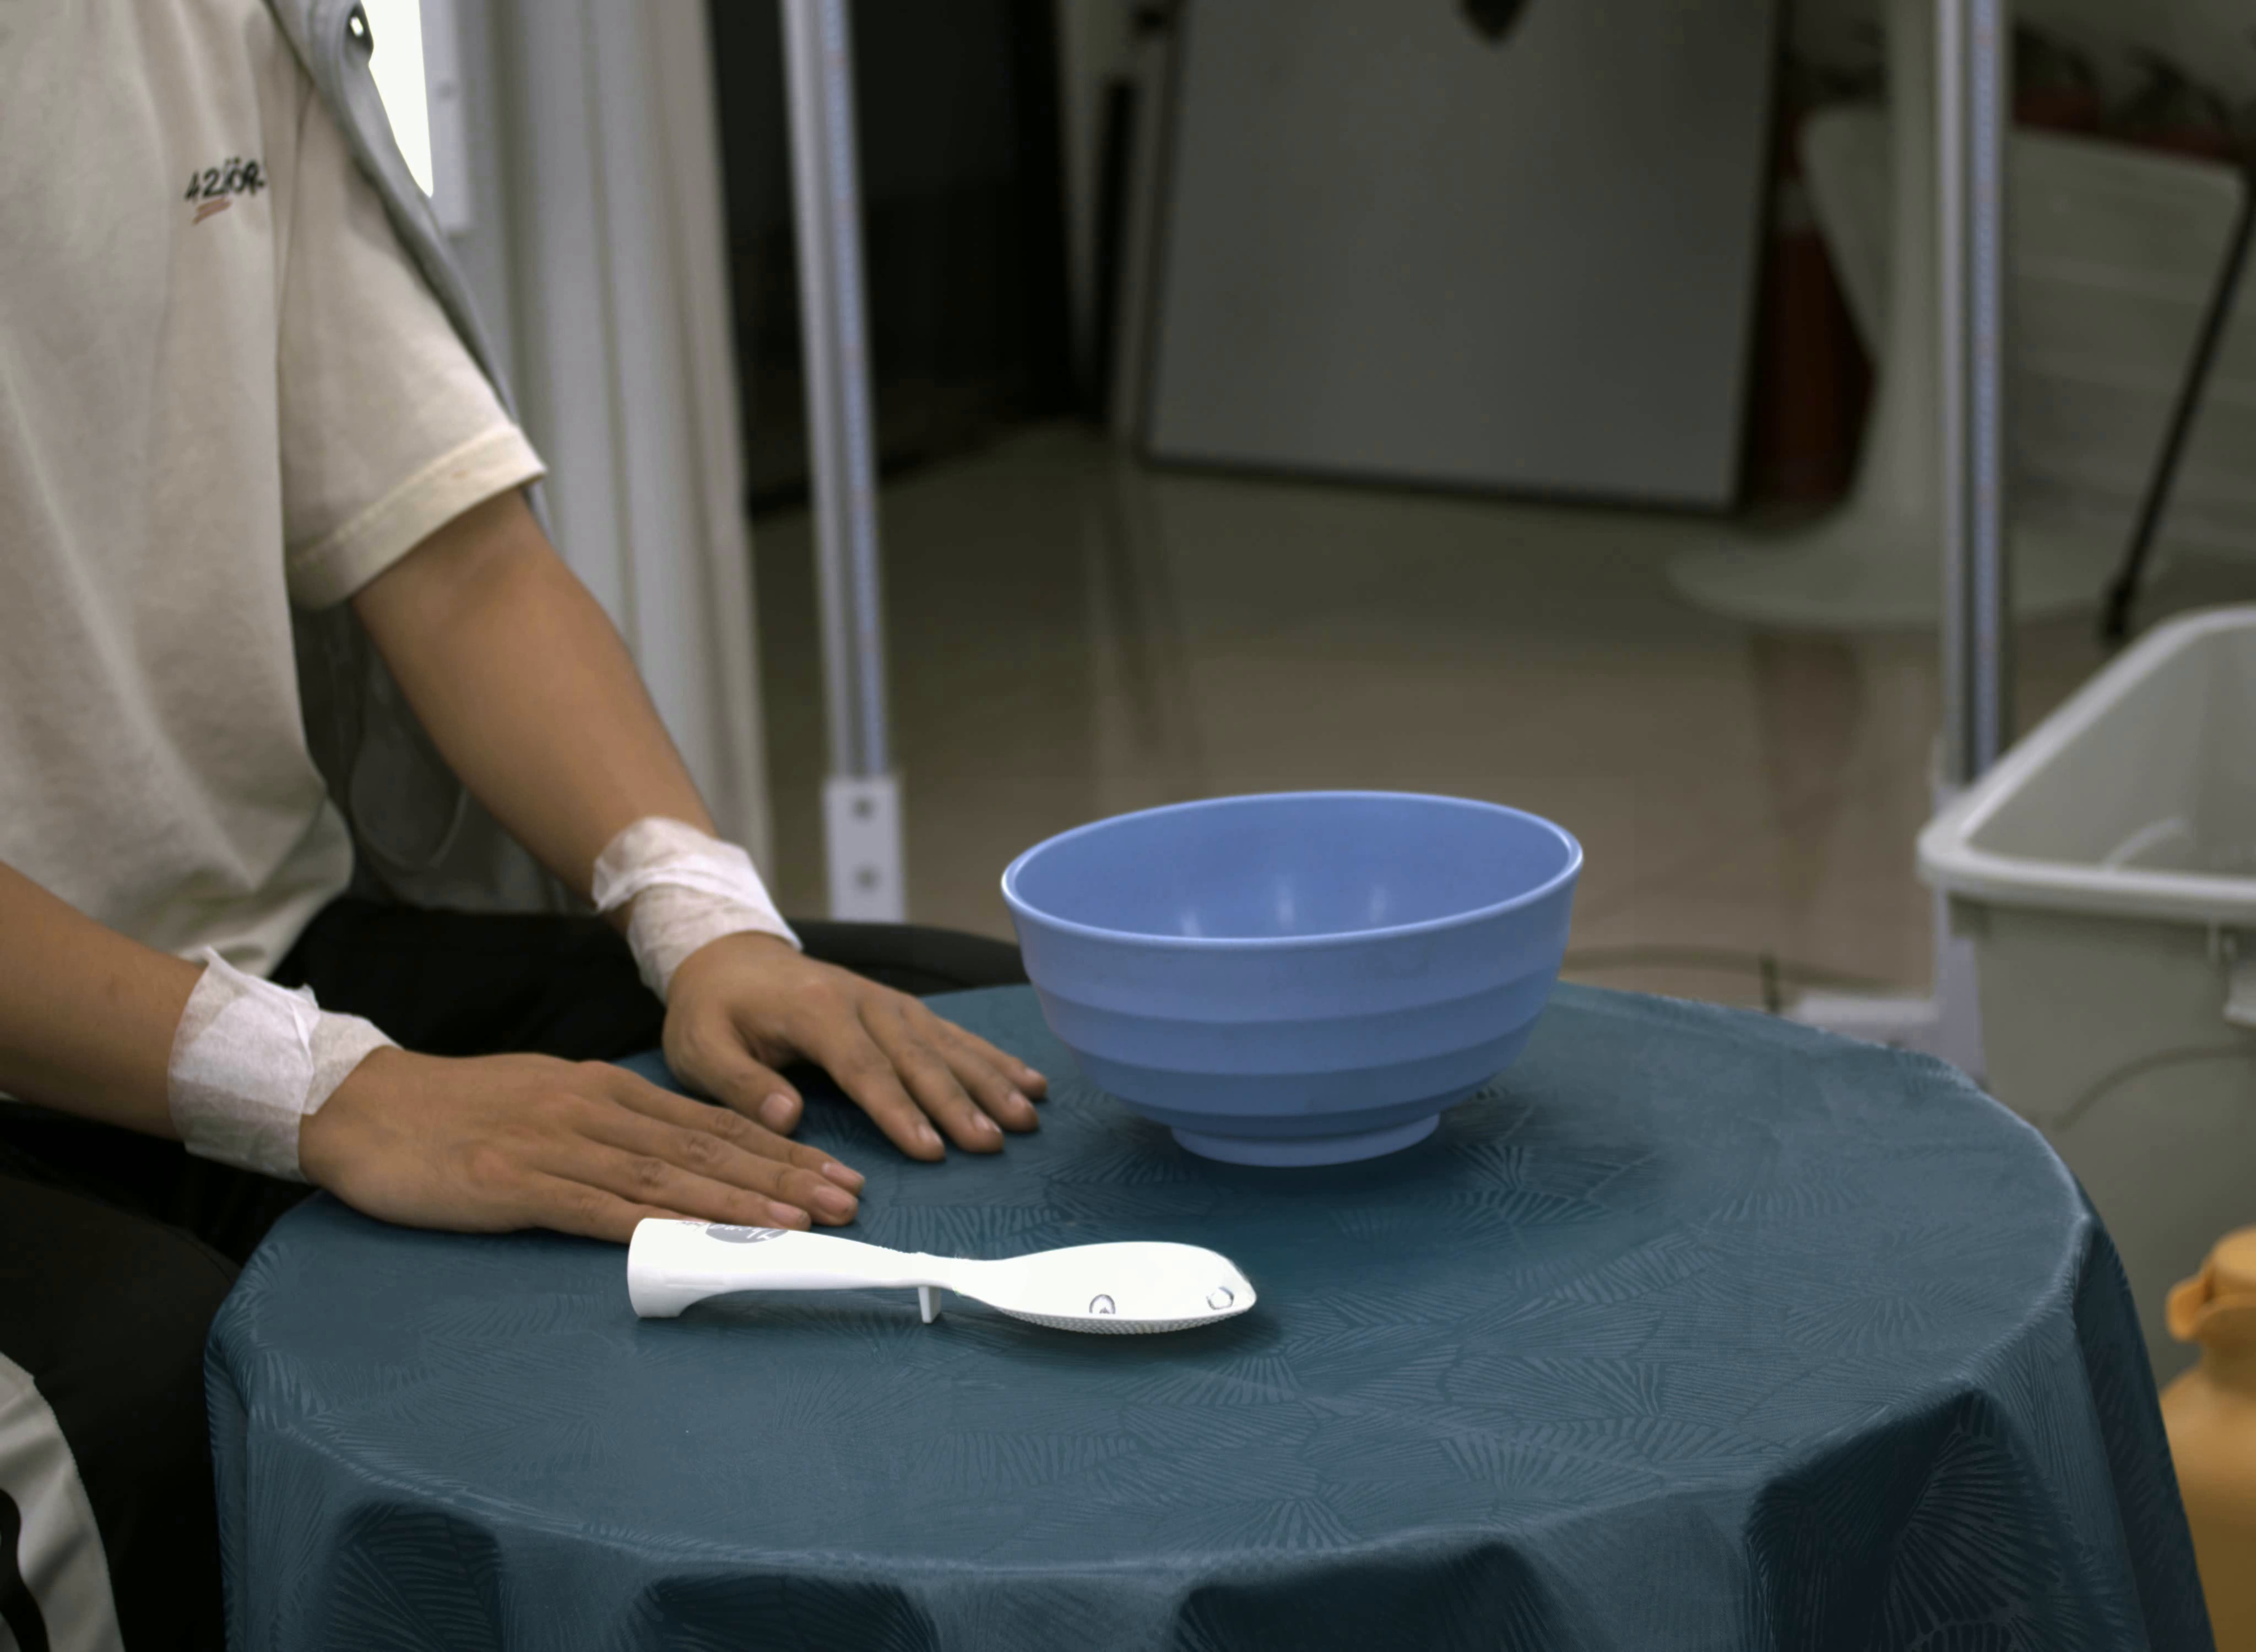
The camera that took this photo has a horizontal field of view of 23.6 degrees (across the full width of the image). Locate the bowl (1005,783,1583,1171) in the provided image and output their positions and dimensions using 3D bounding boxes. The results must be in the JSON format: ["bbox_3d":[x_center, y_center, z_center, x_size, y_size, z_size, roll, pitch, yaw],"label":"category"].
[{"bbox_3d":[0.057,0.056,1.818,0.194,0.096,0.197,-3,15,0],"label":"bowl"}]

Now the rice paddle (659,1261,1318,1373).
[{"bbox_3d":[-0.042,0.143,1.656,0.203,0.030,0.068,-6,0,8],"label":"rice paddle"}]
